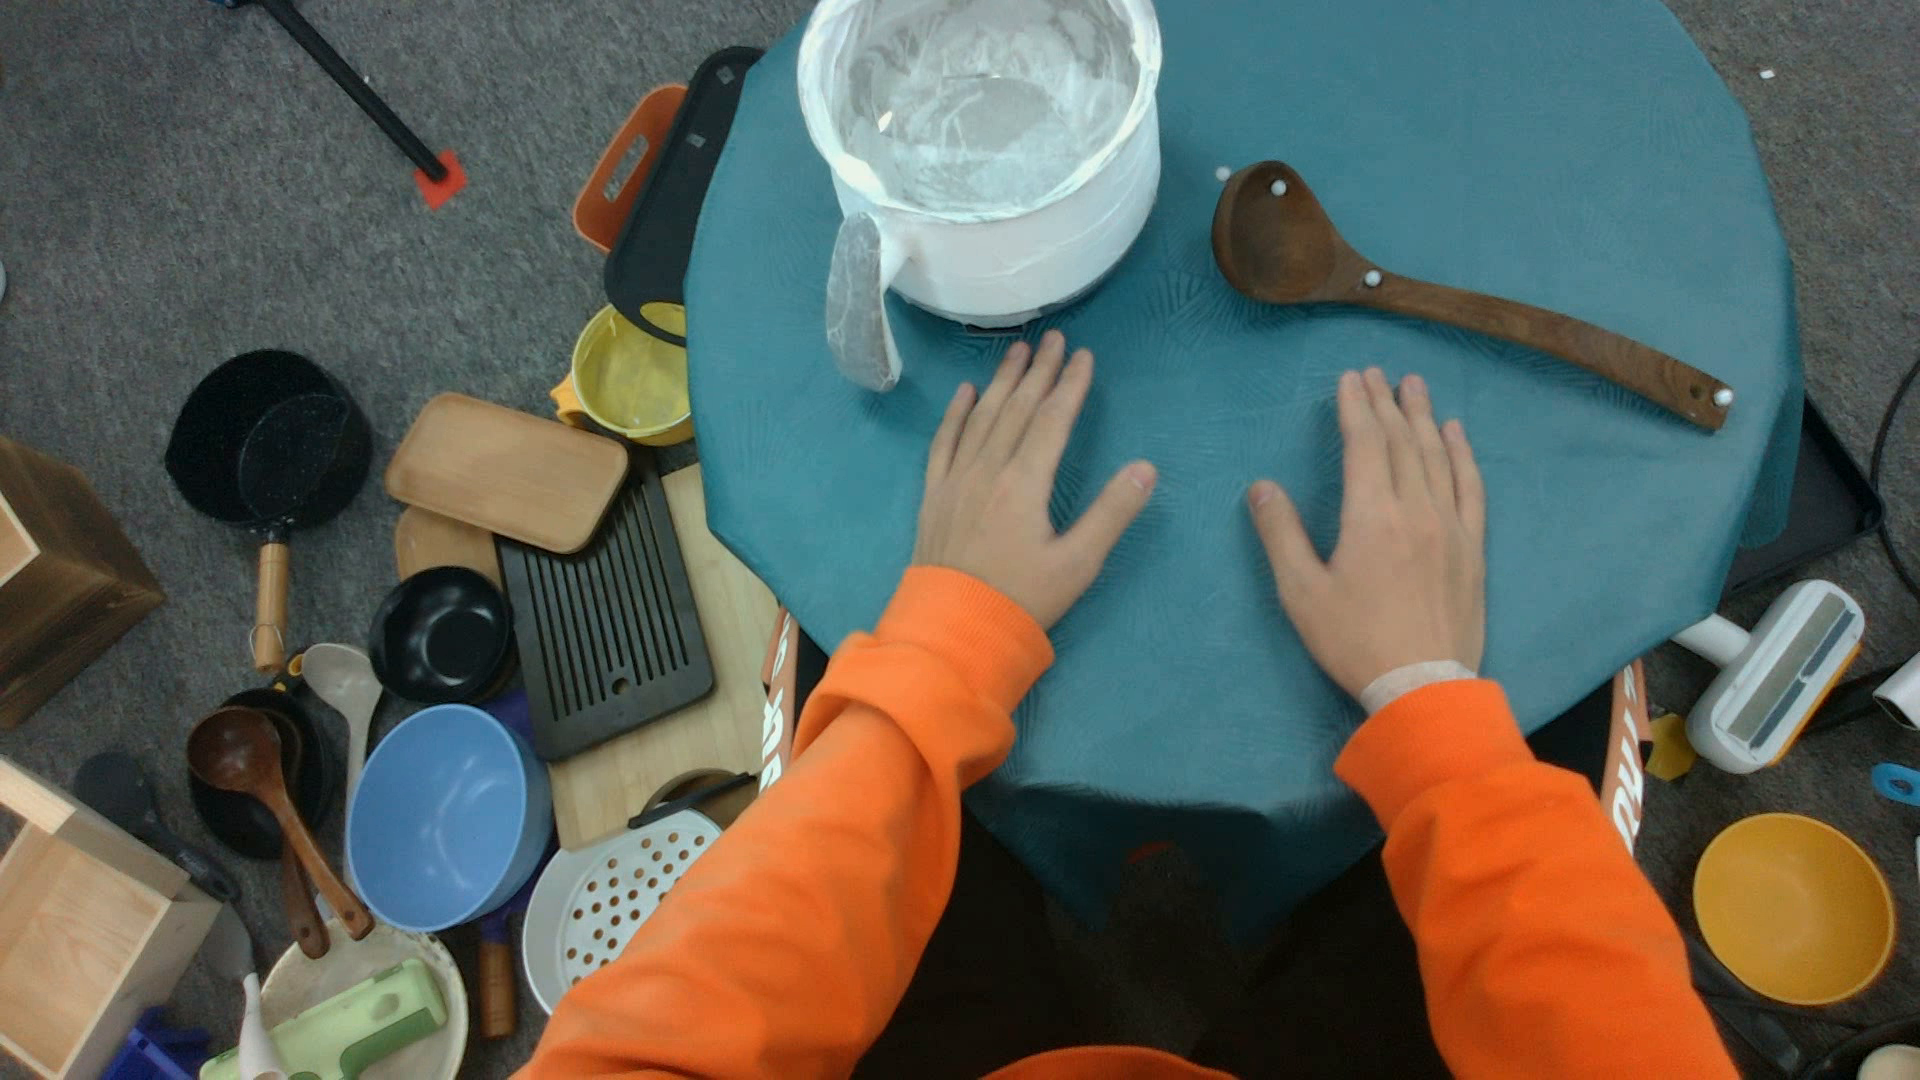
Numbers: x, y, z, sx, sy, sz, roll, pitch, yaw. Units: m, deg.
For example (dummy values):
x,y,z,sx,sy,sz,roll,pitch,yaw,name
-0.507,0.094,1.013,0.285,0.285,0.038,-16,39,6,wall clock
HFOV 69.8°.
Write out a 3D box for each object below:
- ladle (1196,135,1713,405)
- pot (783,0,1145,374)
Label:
x,y,z,sx,sy,sz,roll,pitch,yaw,name
0.253,-0.135,0.704,0.274,0.071,0.076,22,81,14,ladle
-0.006,-0.201,0.722,0.178,0.136,0.234,28,79,15,pot
